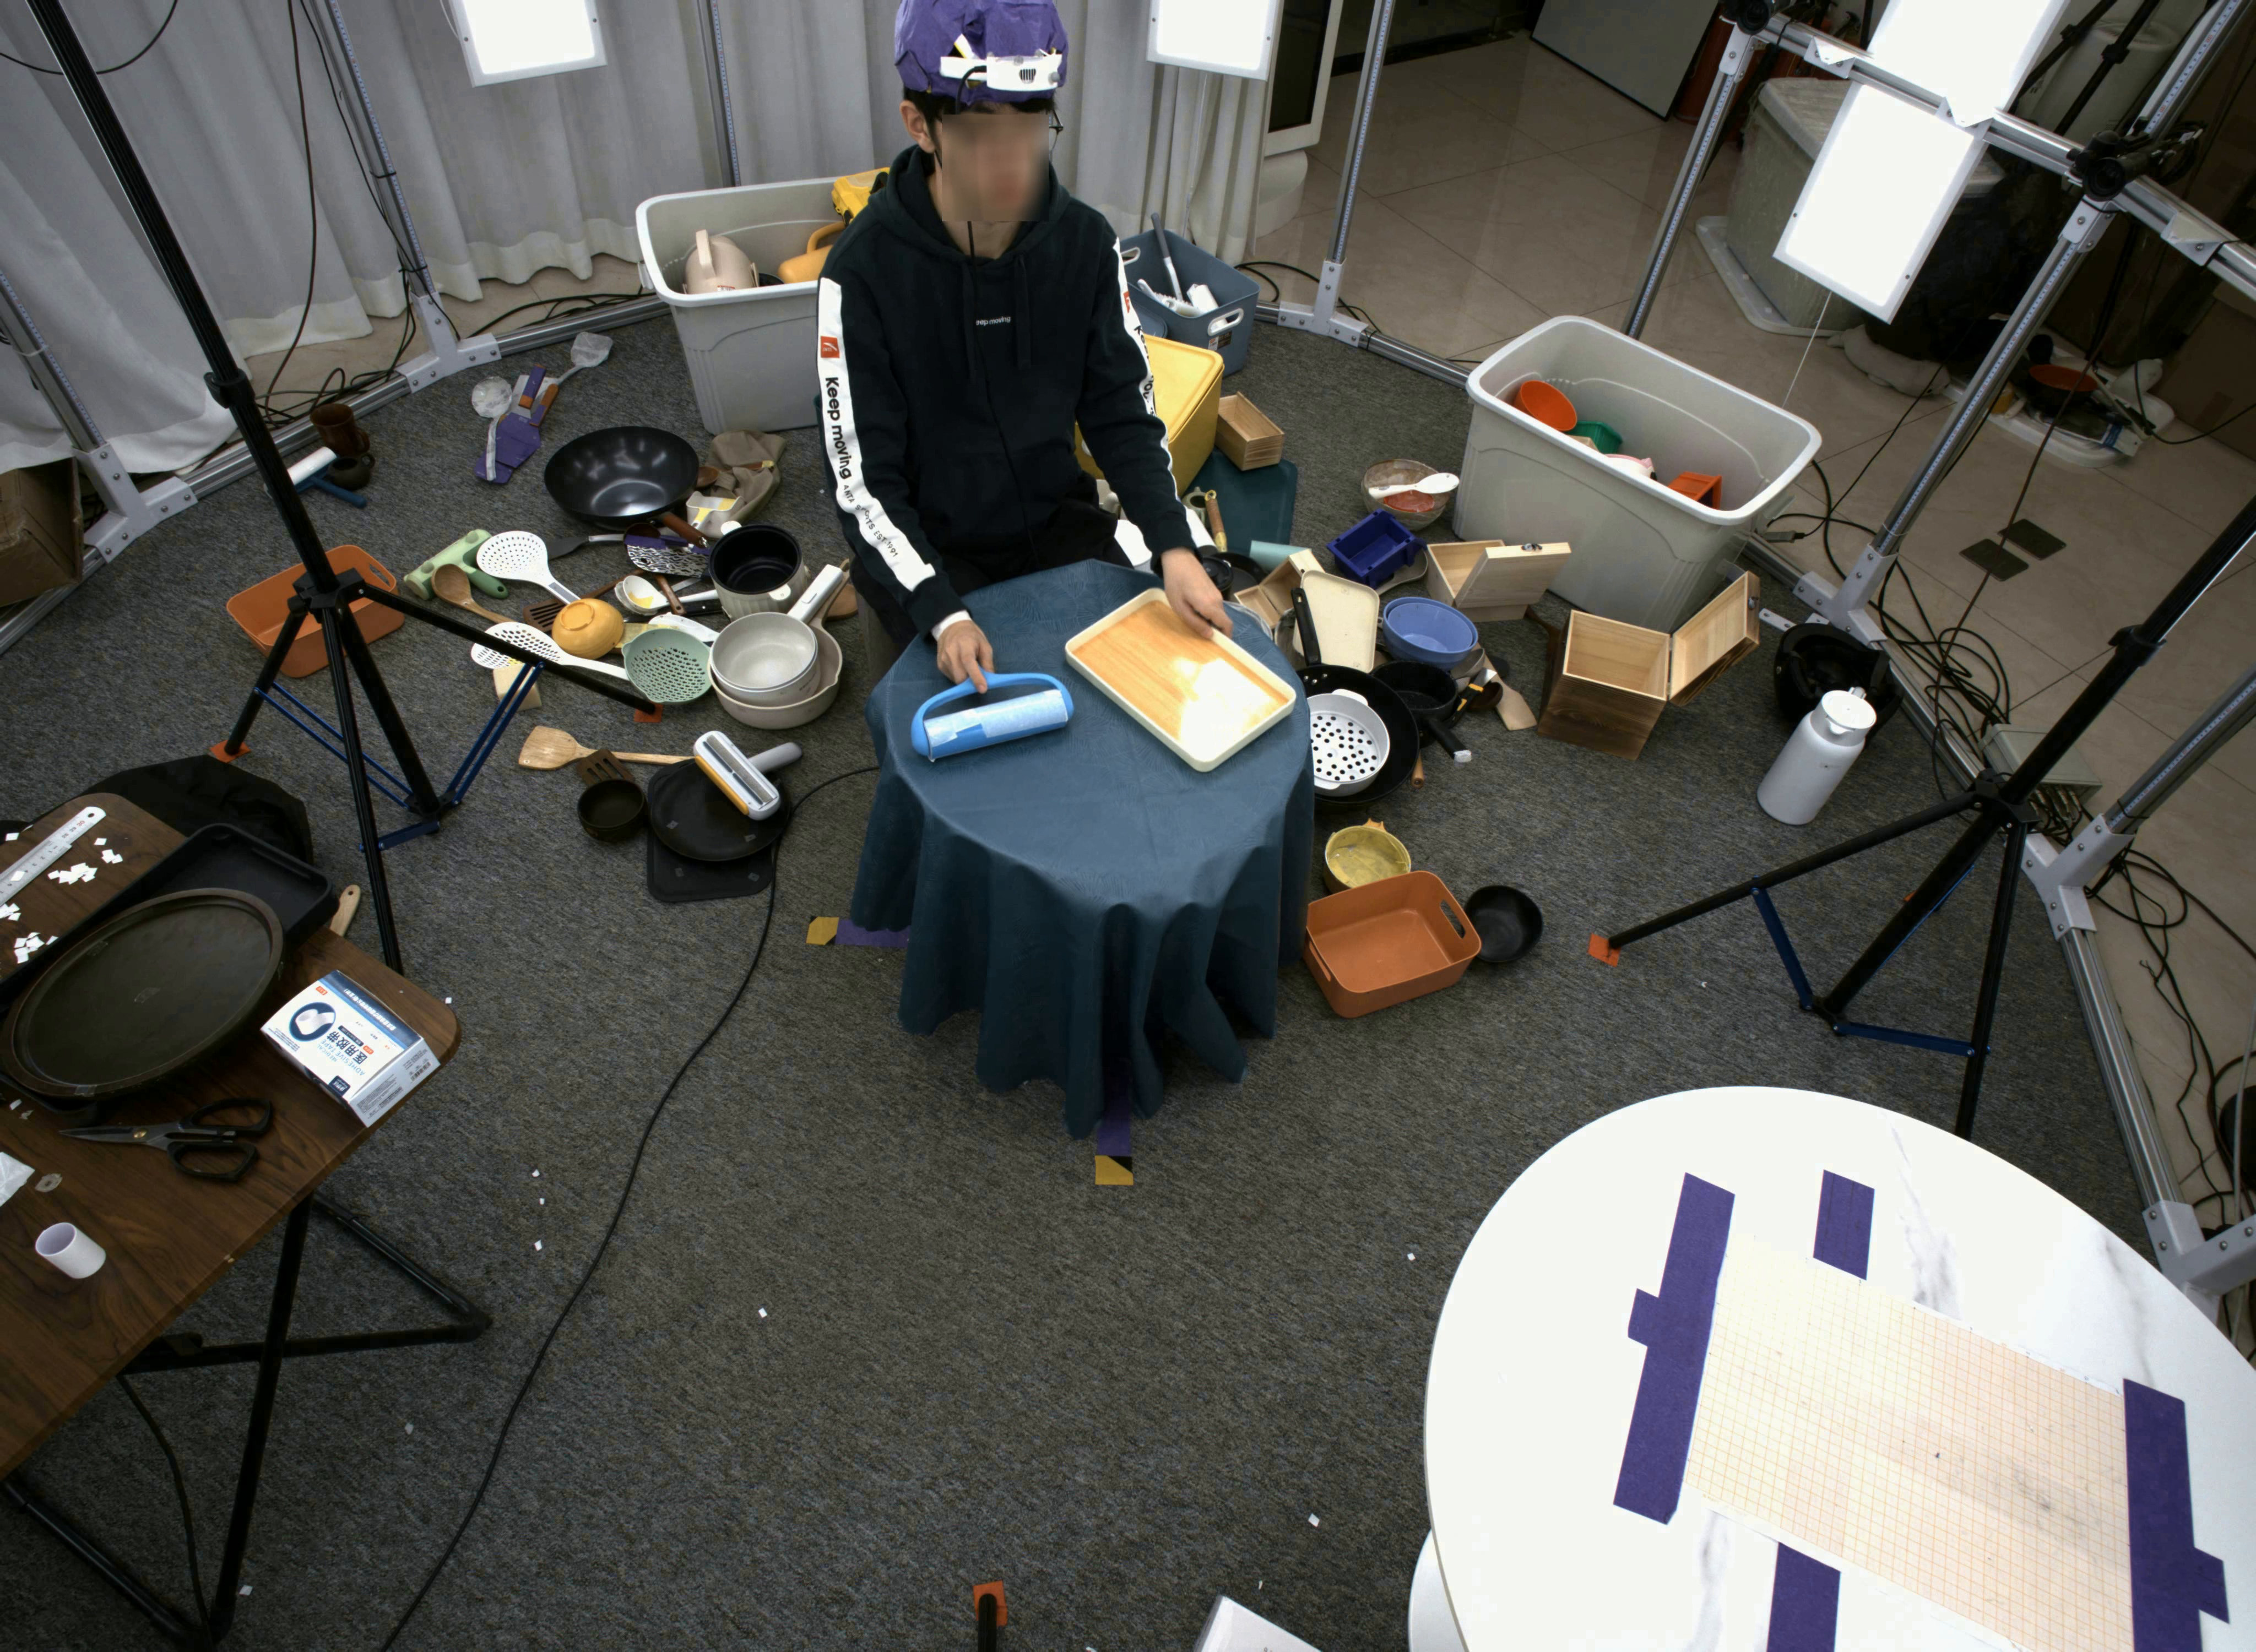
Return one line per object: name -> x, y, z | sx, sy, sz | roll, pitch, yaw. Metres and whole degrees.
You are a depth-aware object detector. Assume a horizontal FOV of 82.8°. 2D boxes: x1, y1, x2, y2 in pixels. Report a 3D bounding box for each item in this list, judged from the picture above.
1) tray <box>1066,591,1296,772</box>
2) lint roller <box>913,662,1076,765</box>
tray -> 0.072, -0.212, 1.831 | 0.193, 0.027, 0.305 | -35, 59, -24
lint roller -> -0.204, -0.179, 1.774 | 0.229, 0.066, 0.184 | -20, 55, -17
